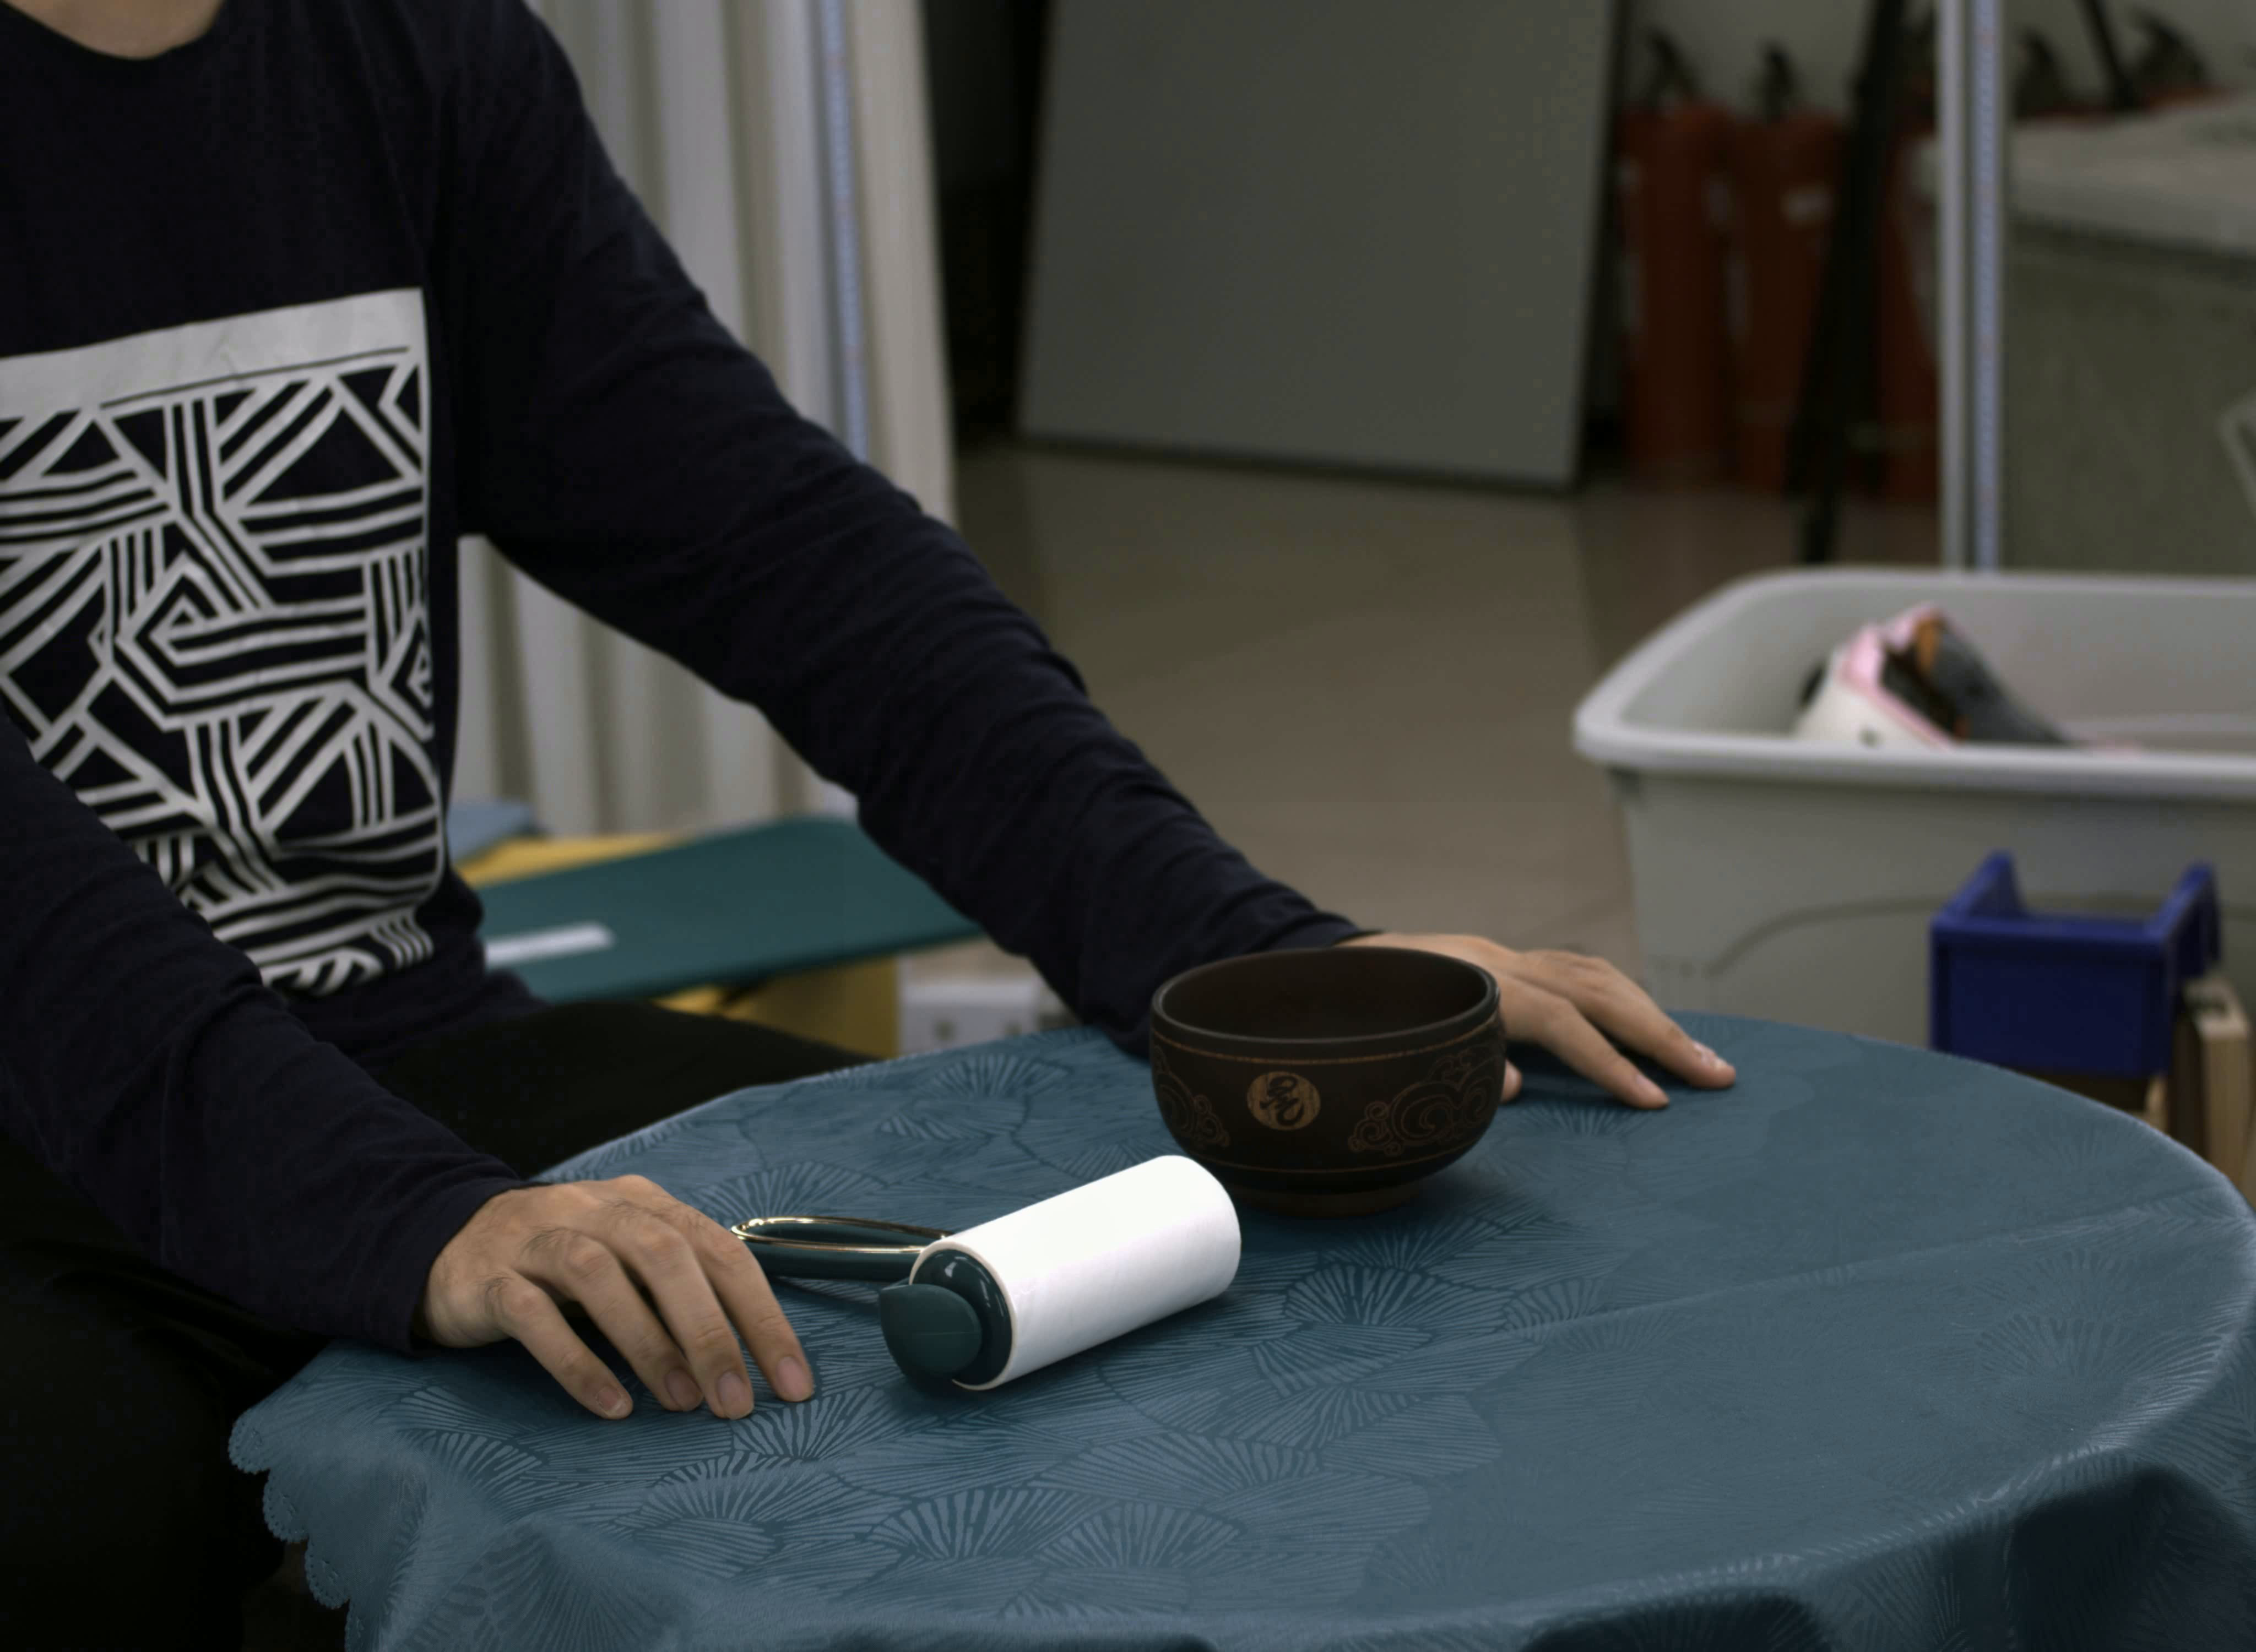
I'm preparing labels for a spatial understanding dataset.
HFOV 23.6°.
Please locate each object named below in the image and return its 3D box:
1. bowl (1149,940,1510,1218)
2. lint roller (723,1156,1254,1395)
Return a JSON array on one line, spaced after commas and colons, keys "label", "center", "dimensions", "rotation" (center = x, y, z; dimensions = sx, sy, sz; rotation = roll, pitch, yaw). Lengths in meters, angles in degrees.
[{"label": "bowl", "center": [0.067, 0.086, 1.750], "dimensions": [0.116, 0.070, 0.118], "rotation": [-7, 13, 1]}, {"label": "lint roller", "center": [-0.064, 0.131, 1.671], "dimensions": [0.182, 0.049, 0.131], "rotation": [4, 16, 44]}]
